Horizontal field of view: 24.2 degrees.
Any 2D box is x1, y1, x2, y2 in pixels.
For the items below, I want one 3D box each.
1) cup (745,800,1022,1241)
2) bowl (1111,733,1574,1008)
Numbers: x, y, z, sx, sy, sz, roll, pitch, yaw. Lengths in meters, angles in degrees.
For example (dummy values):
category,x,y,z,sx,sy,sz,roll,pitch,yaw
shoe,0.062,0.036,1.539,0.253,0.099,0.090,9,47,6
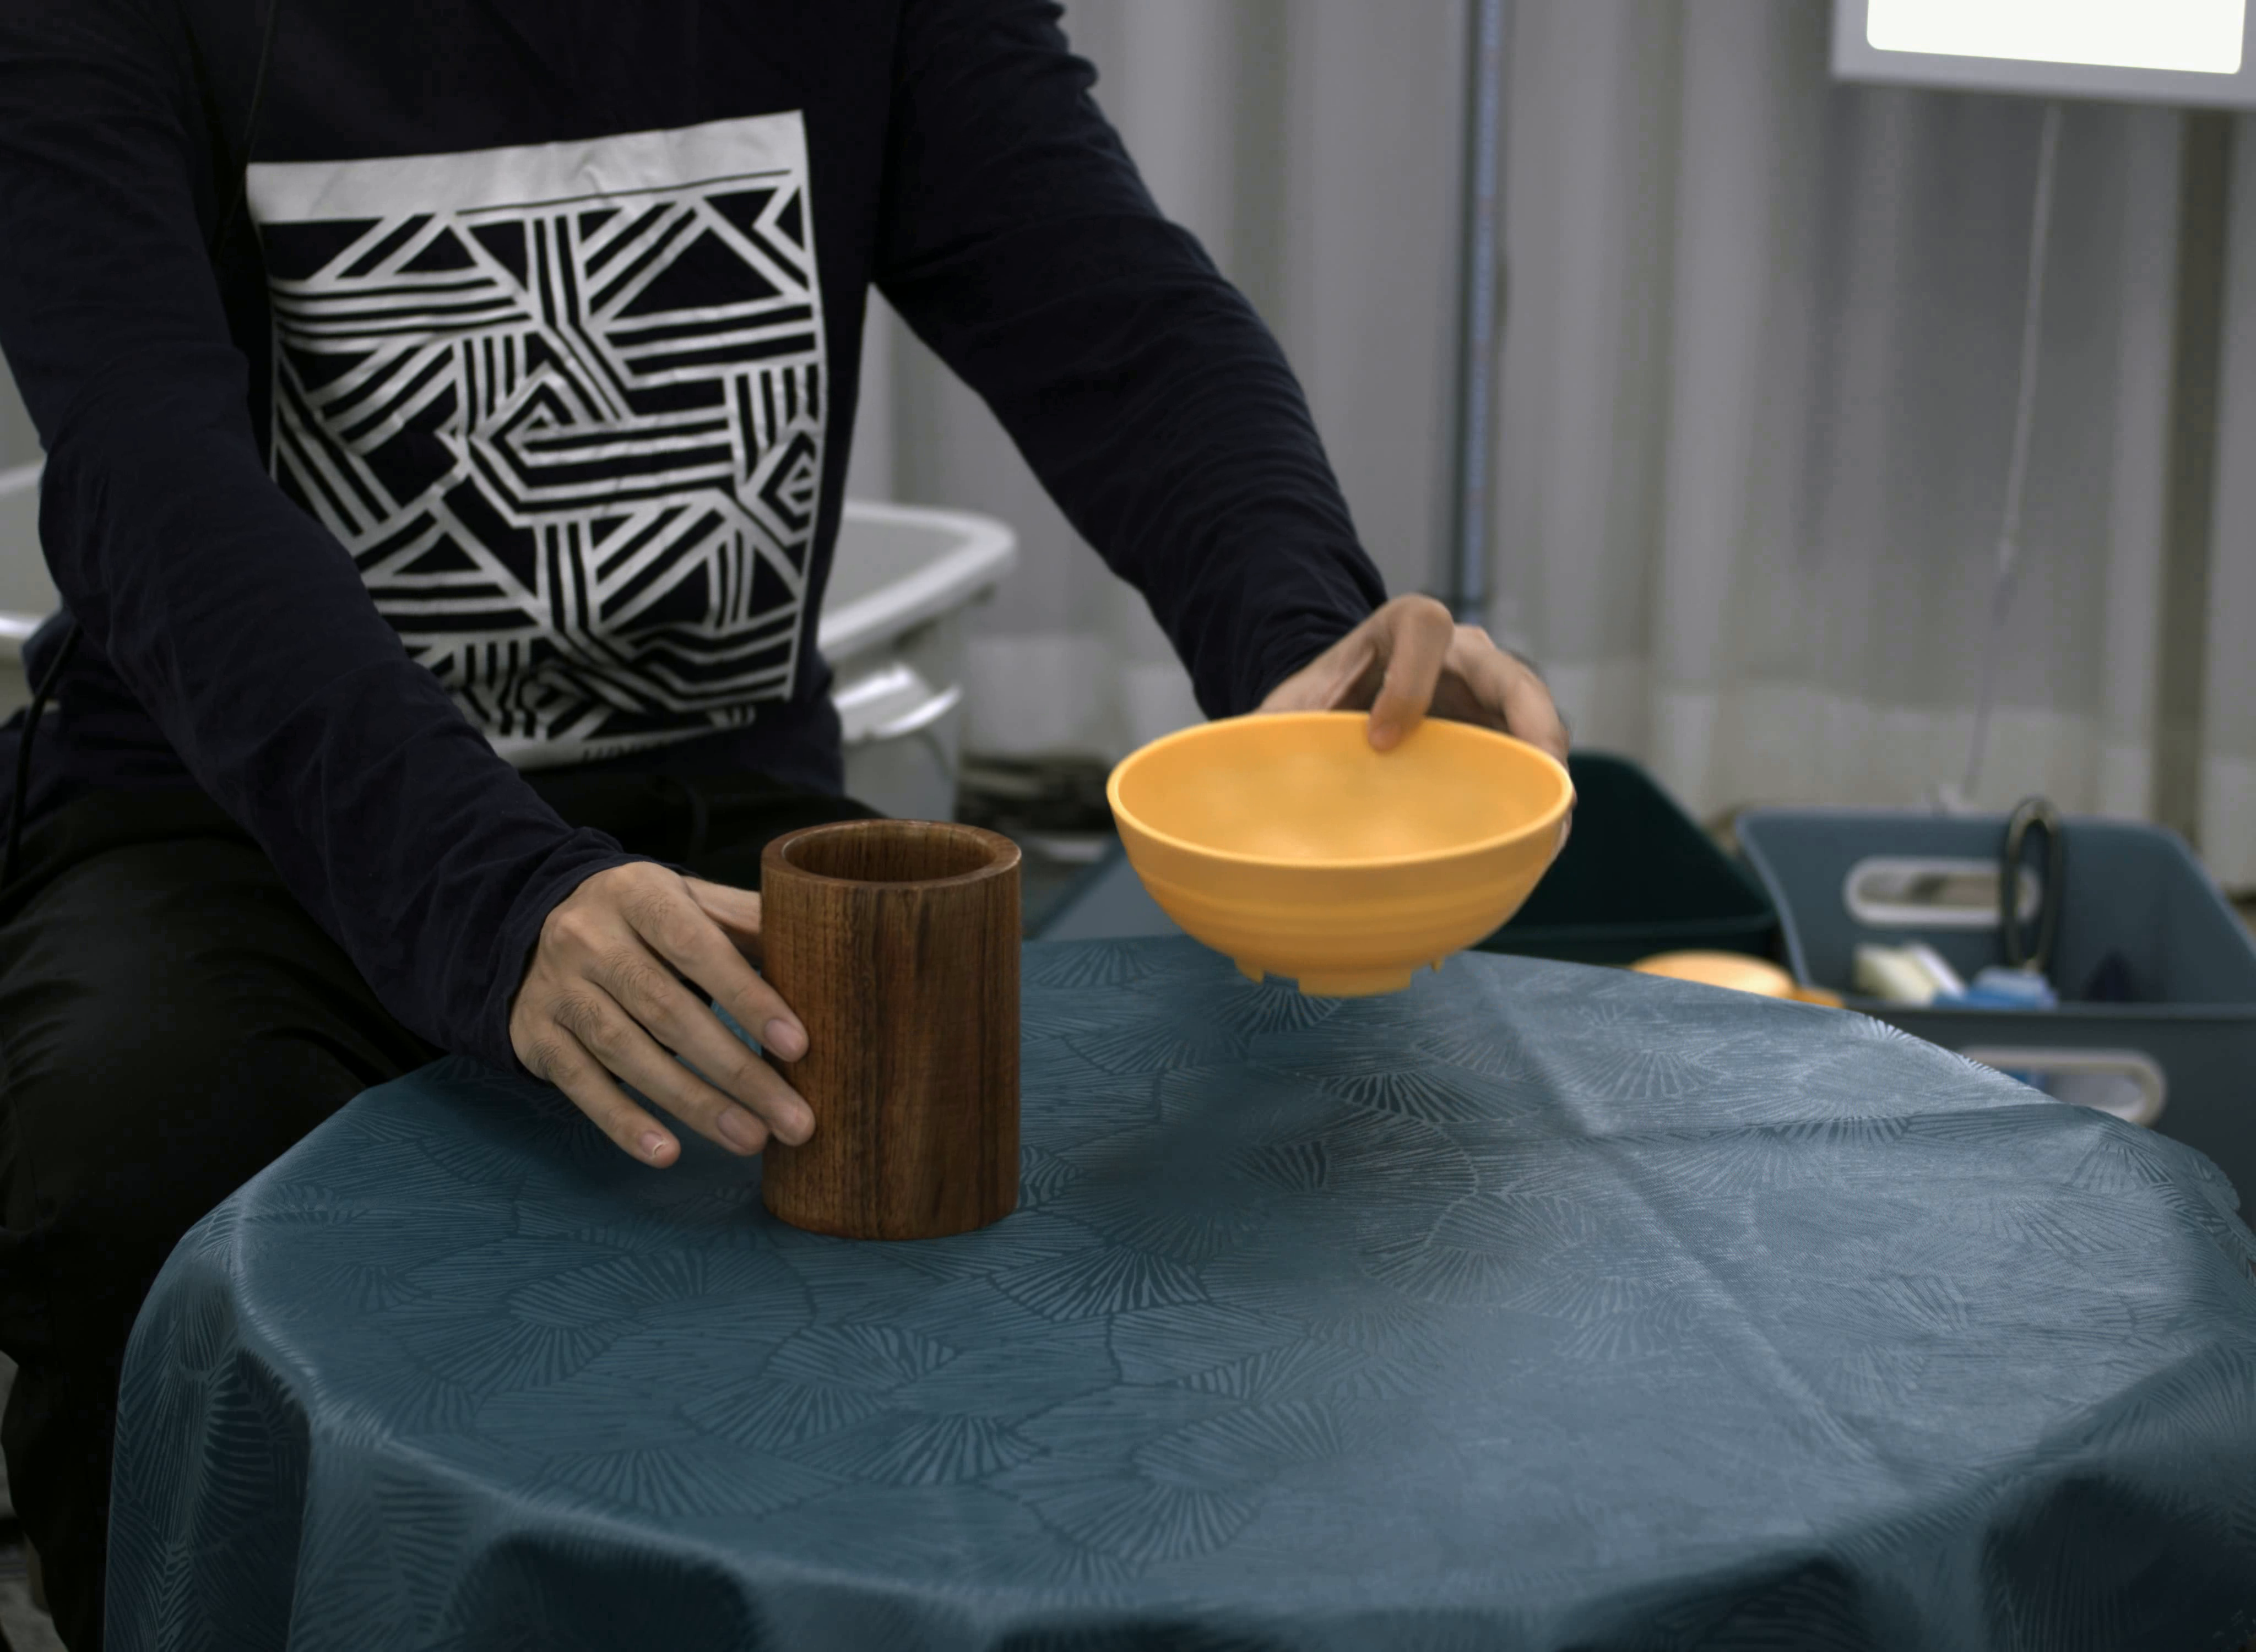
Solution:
category,x,y,z,sx,sy,sz,roll,pitch,yaw
cup,-0.076,0.058,1.598,0.087,0.119,0.087,4,14,0
bowl,0.066,0.018,1.642,0.145,0.060,0.144,0,18,0
